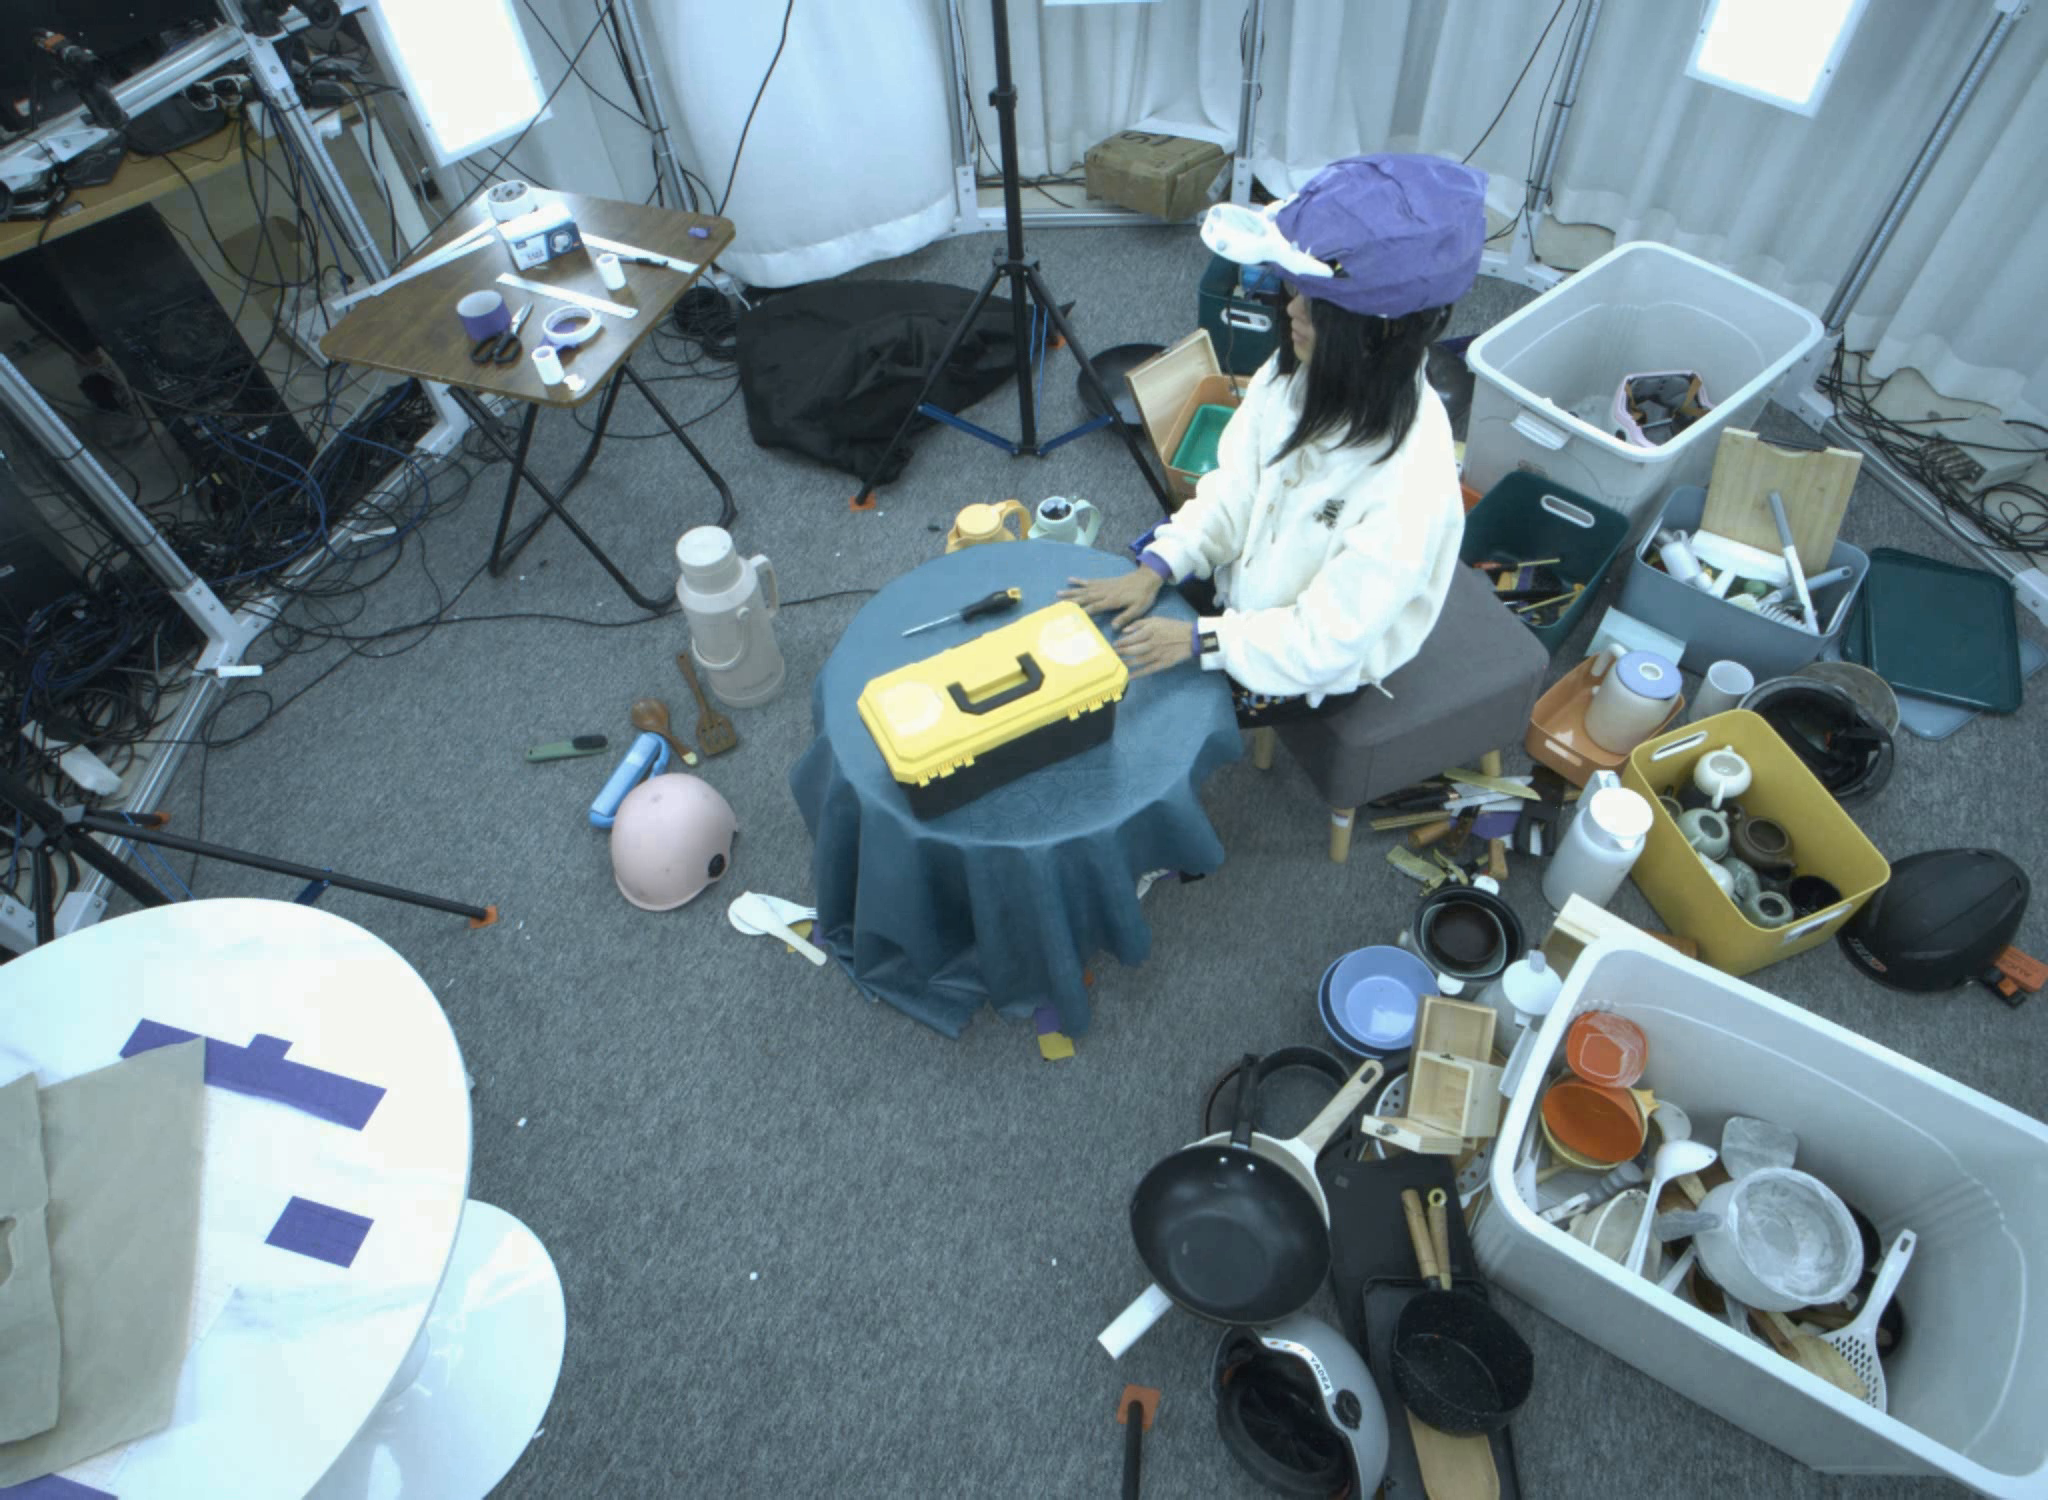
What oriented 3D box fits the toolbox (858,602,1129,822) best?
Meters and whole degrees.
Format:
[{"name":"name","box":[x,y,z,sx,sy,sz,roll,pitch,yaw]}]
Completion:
[{"name":"toolbox","box":[-0.039,-0.052,1.719,0.354,0.175,0.178,-24,57,-14]}]

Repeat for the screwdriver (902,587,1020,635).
[{"name":"screwdriver","box":[-0.101,-0.217,1.925,0.197,0.032,0.031,-18,56,-9]}]
